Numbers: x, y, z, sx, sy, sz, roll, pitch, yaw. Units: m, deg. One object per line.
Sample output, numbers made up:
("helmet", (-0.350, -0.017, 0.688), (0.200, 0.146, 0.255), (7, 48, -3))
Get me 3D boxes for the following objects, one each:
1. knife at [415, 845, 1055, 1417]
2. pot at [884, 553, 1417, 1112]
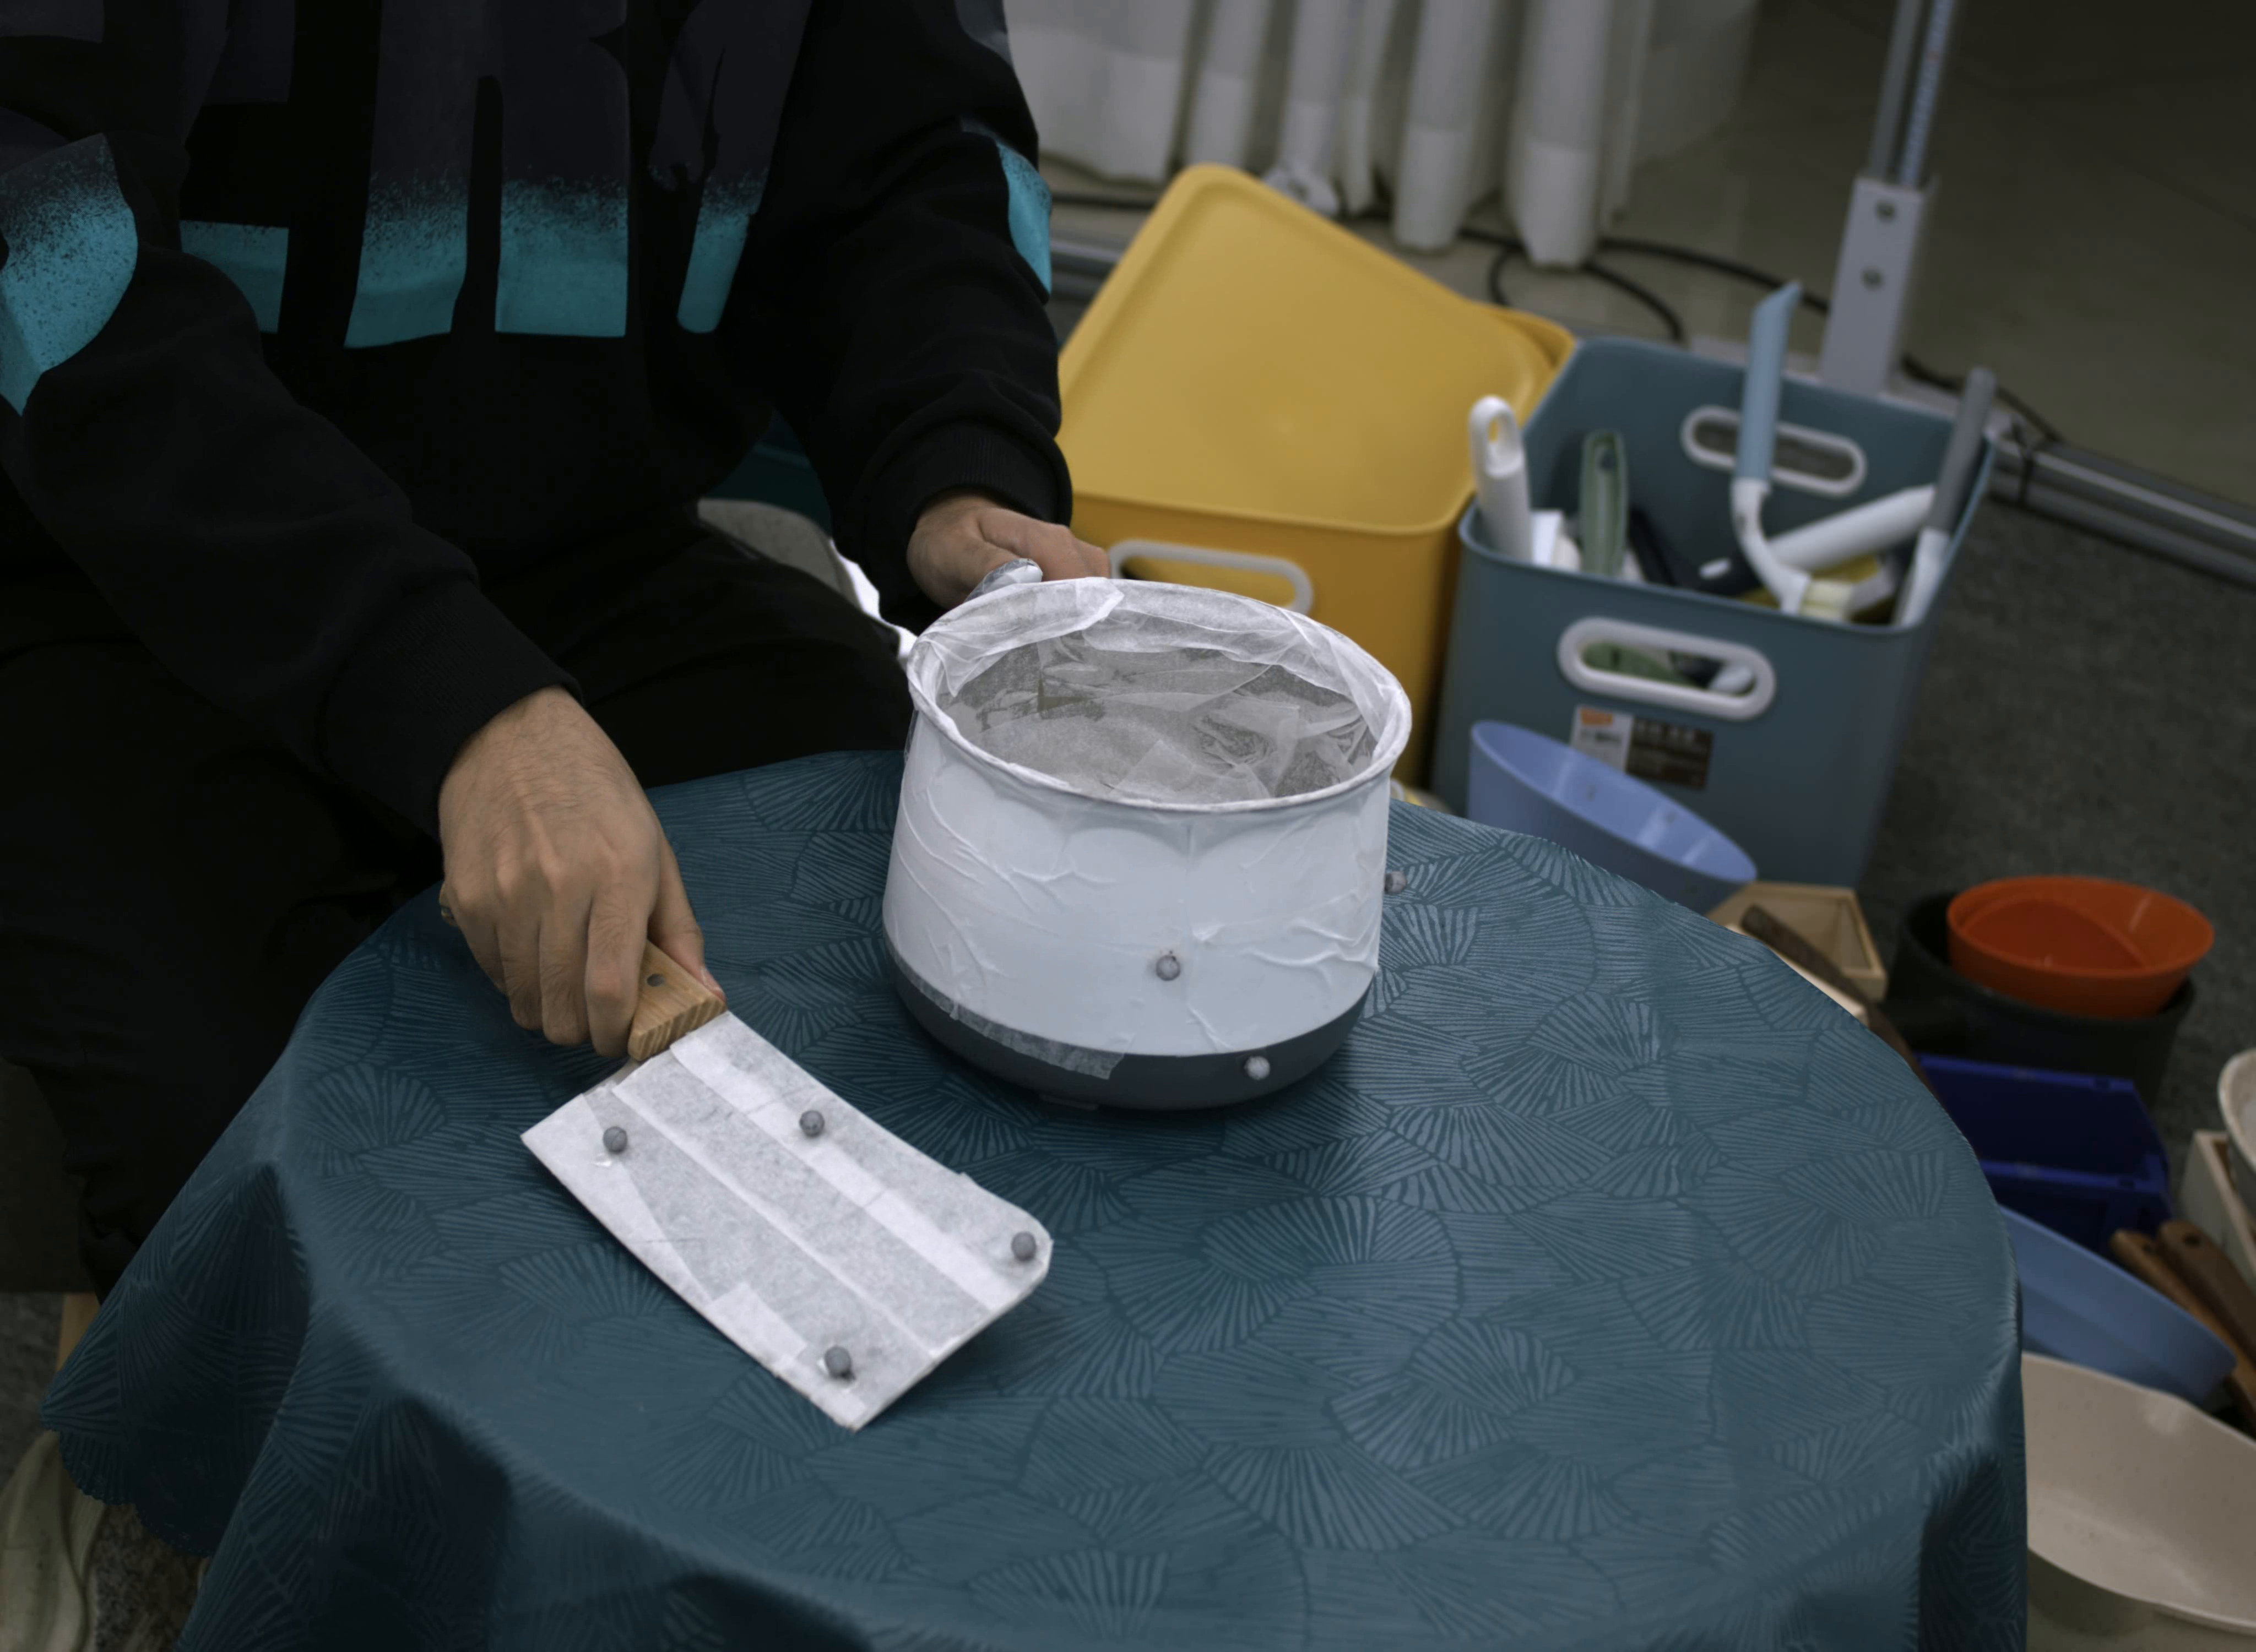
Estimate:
("knife", (-0.144, 0.093, 1.776), (0.113, 0.021, 0.318), (-30, 45, -22))
("pot", (-0.009, -0.005, 1.899), (0.177, 0.136, 0.236), (-9, 32, -30))
